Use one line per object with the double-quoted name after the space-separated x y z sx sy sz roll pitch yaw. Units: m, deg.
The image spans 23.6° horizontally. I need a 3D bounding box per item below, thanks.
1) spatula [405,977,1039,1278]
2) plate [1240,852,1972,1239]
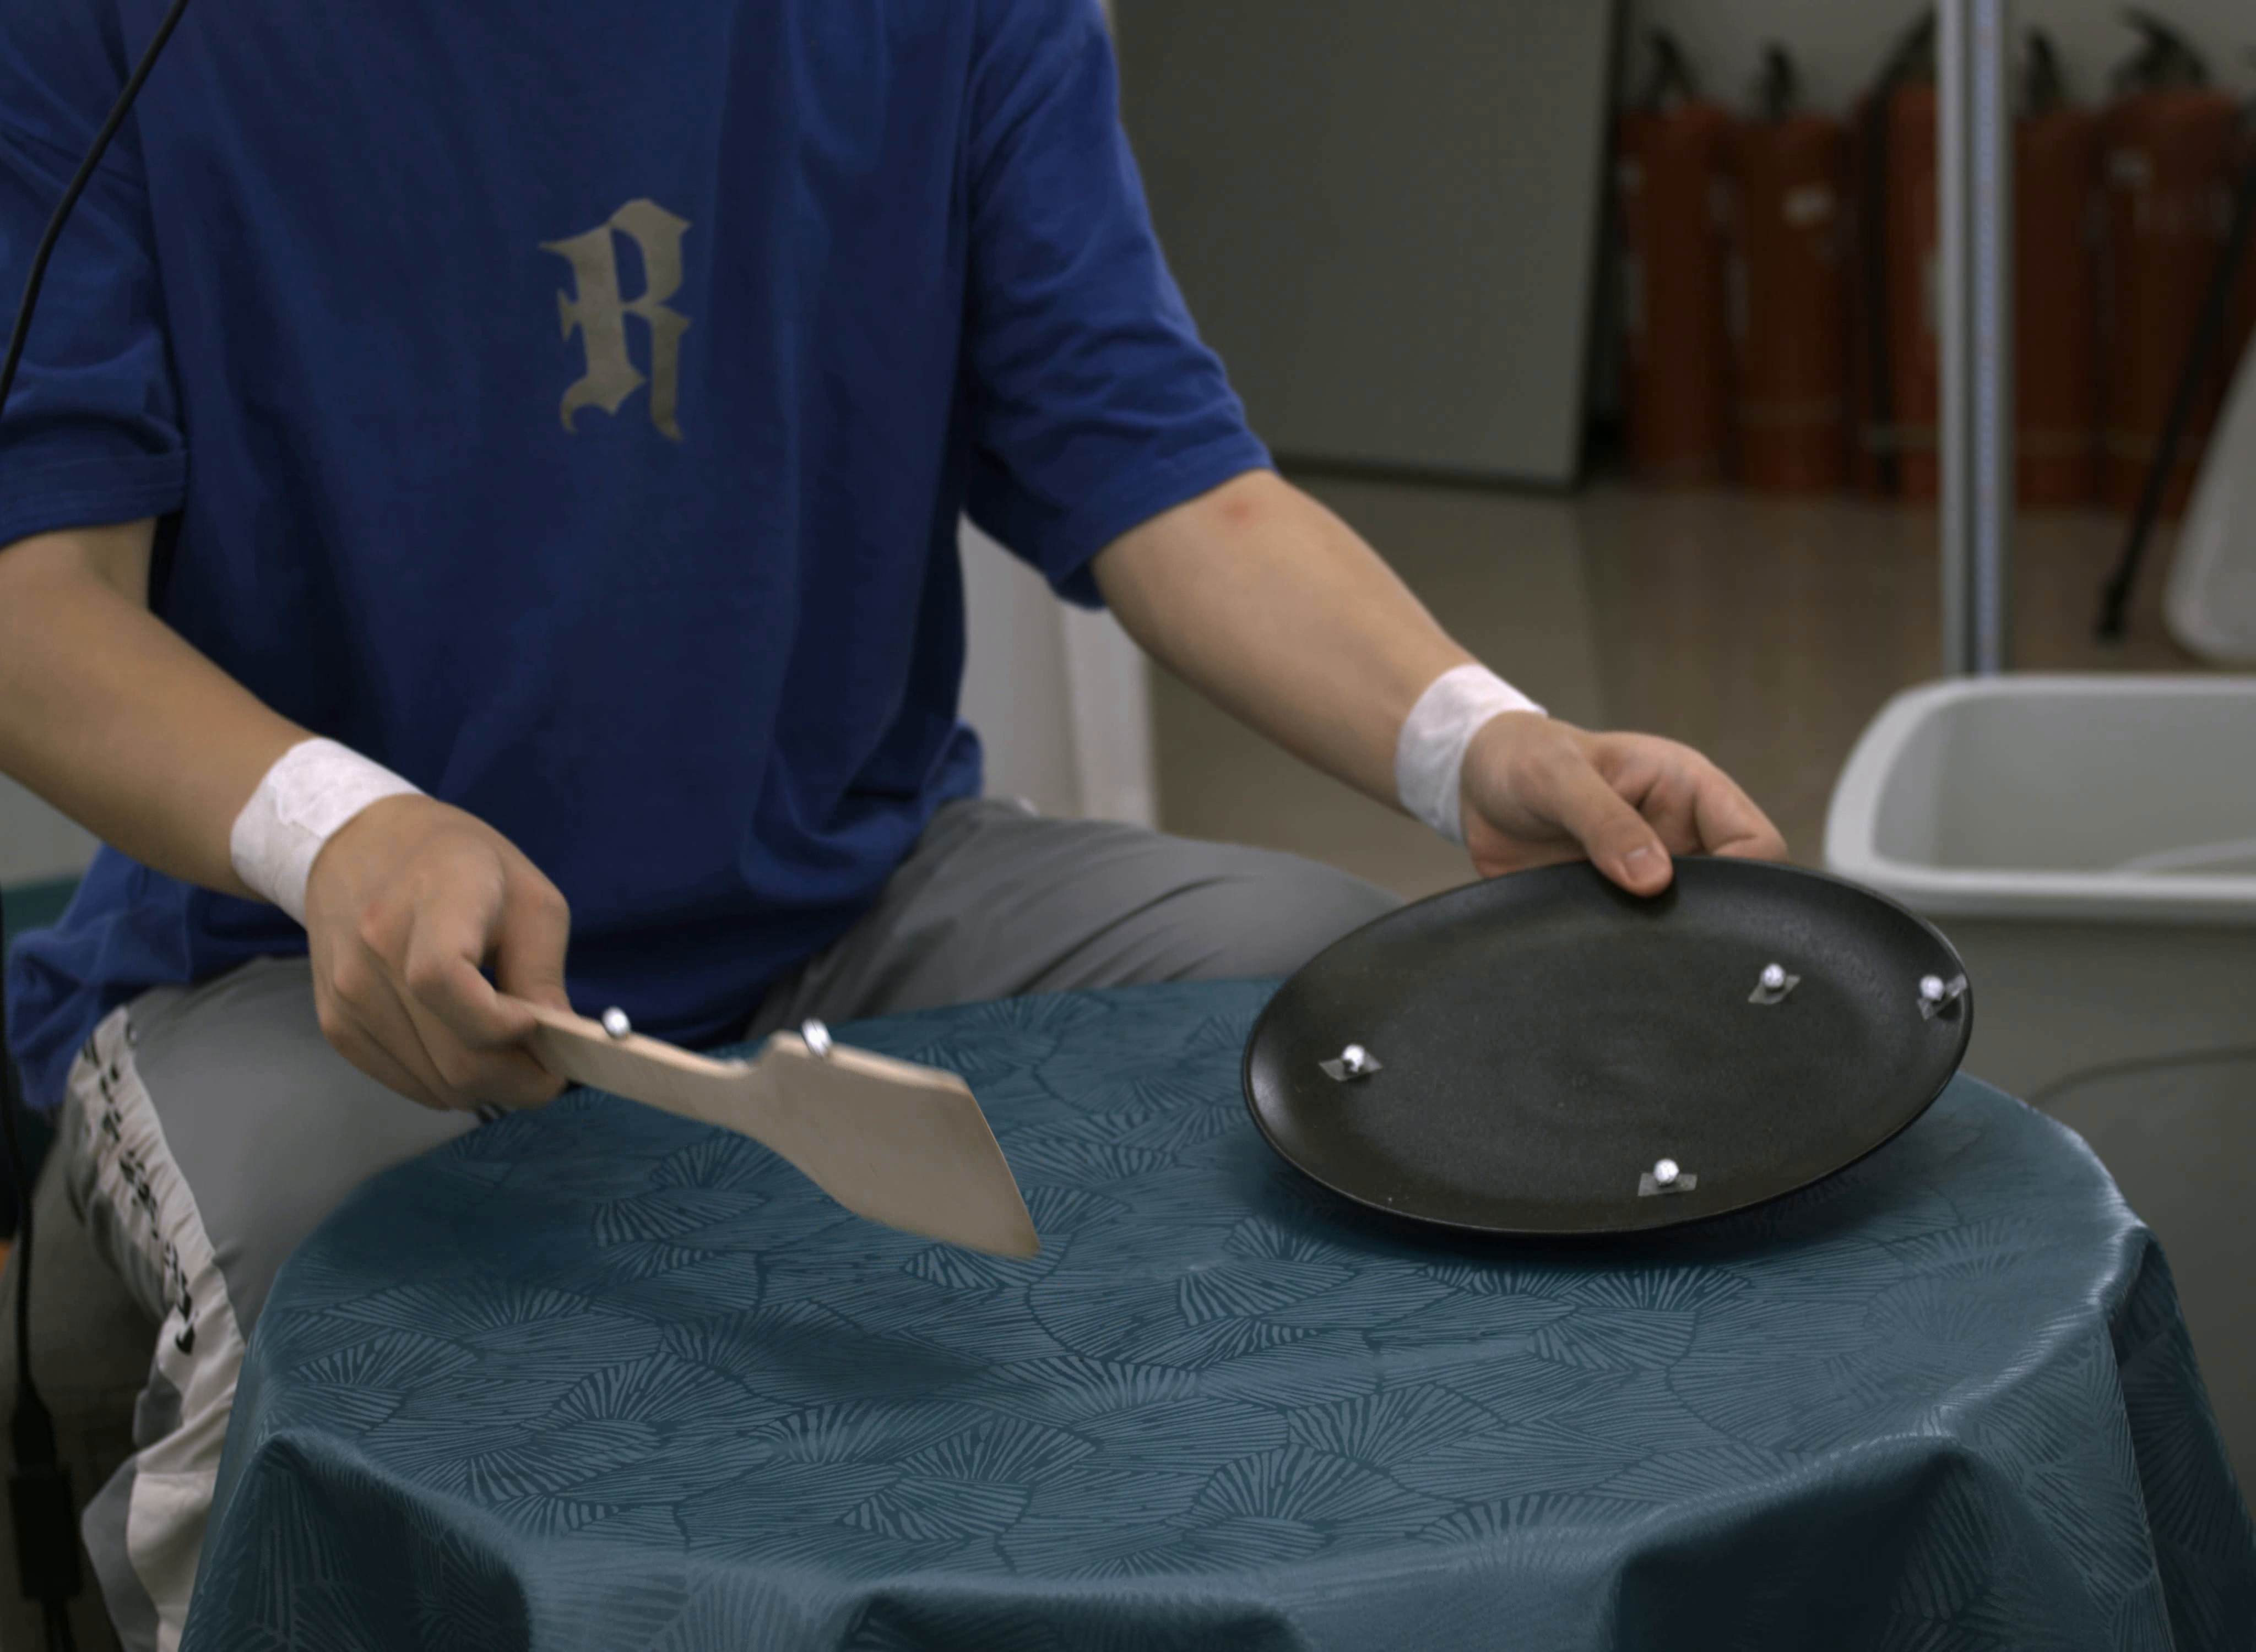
-0.138 0.084 1.701 0.296 0.072 0.010 14 48 46 "spatula"
0.157 0.076 1.768 0.242 0.023 0.245 -9 27 3 "plate"
